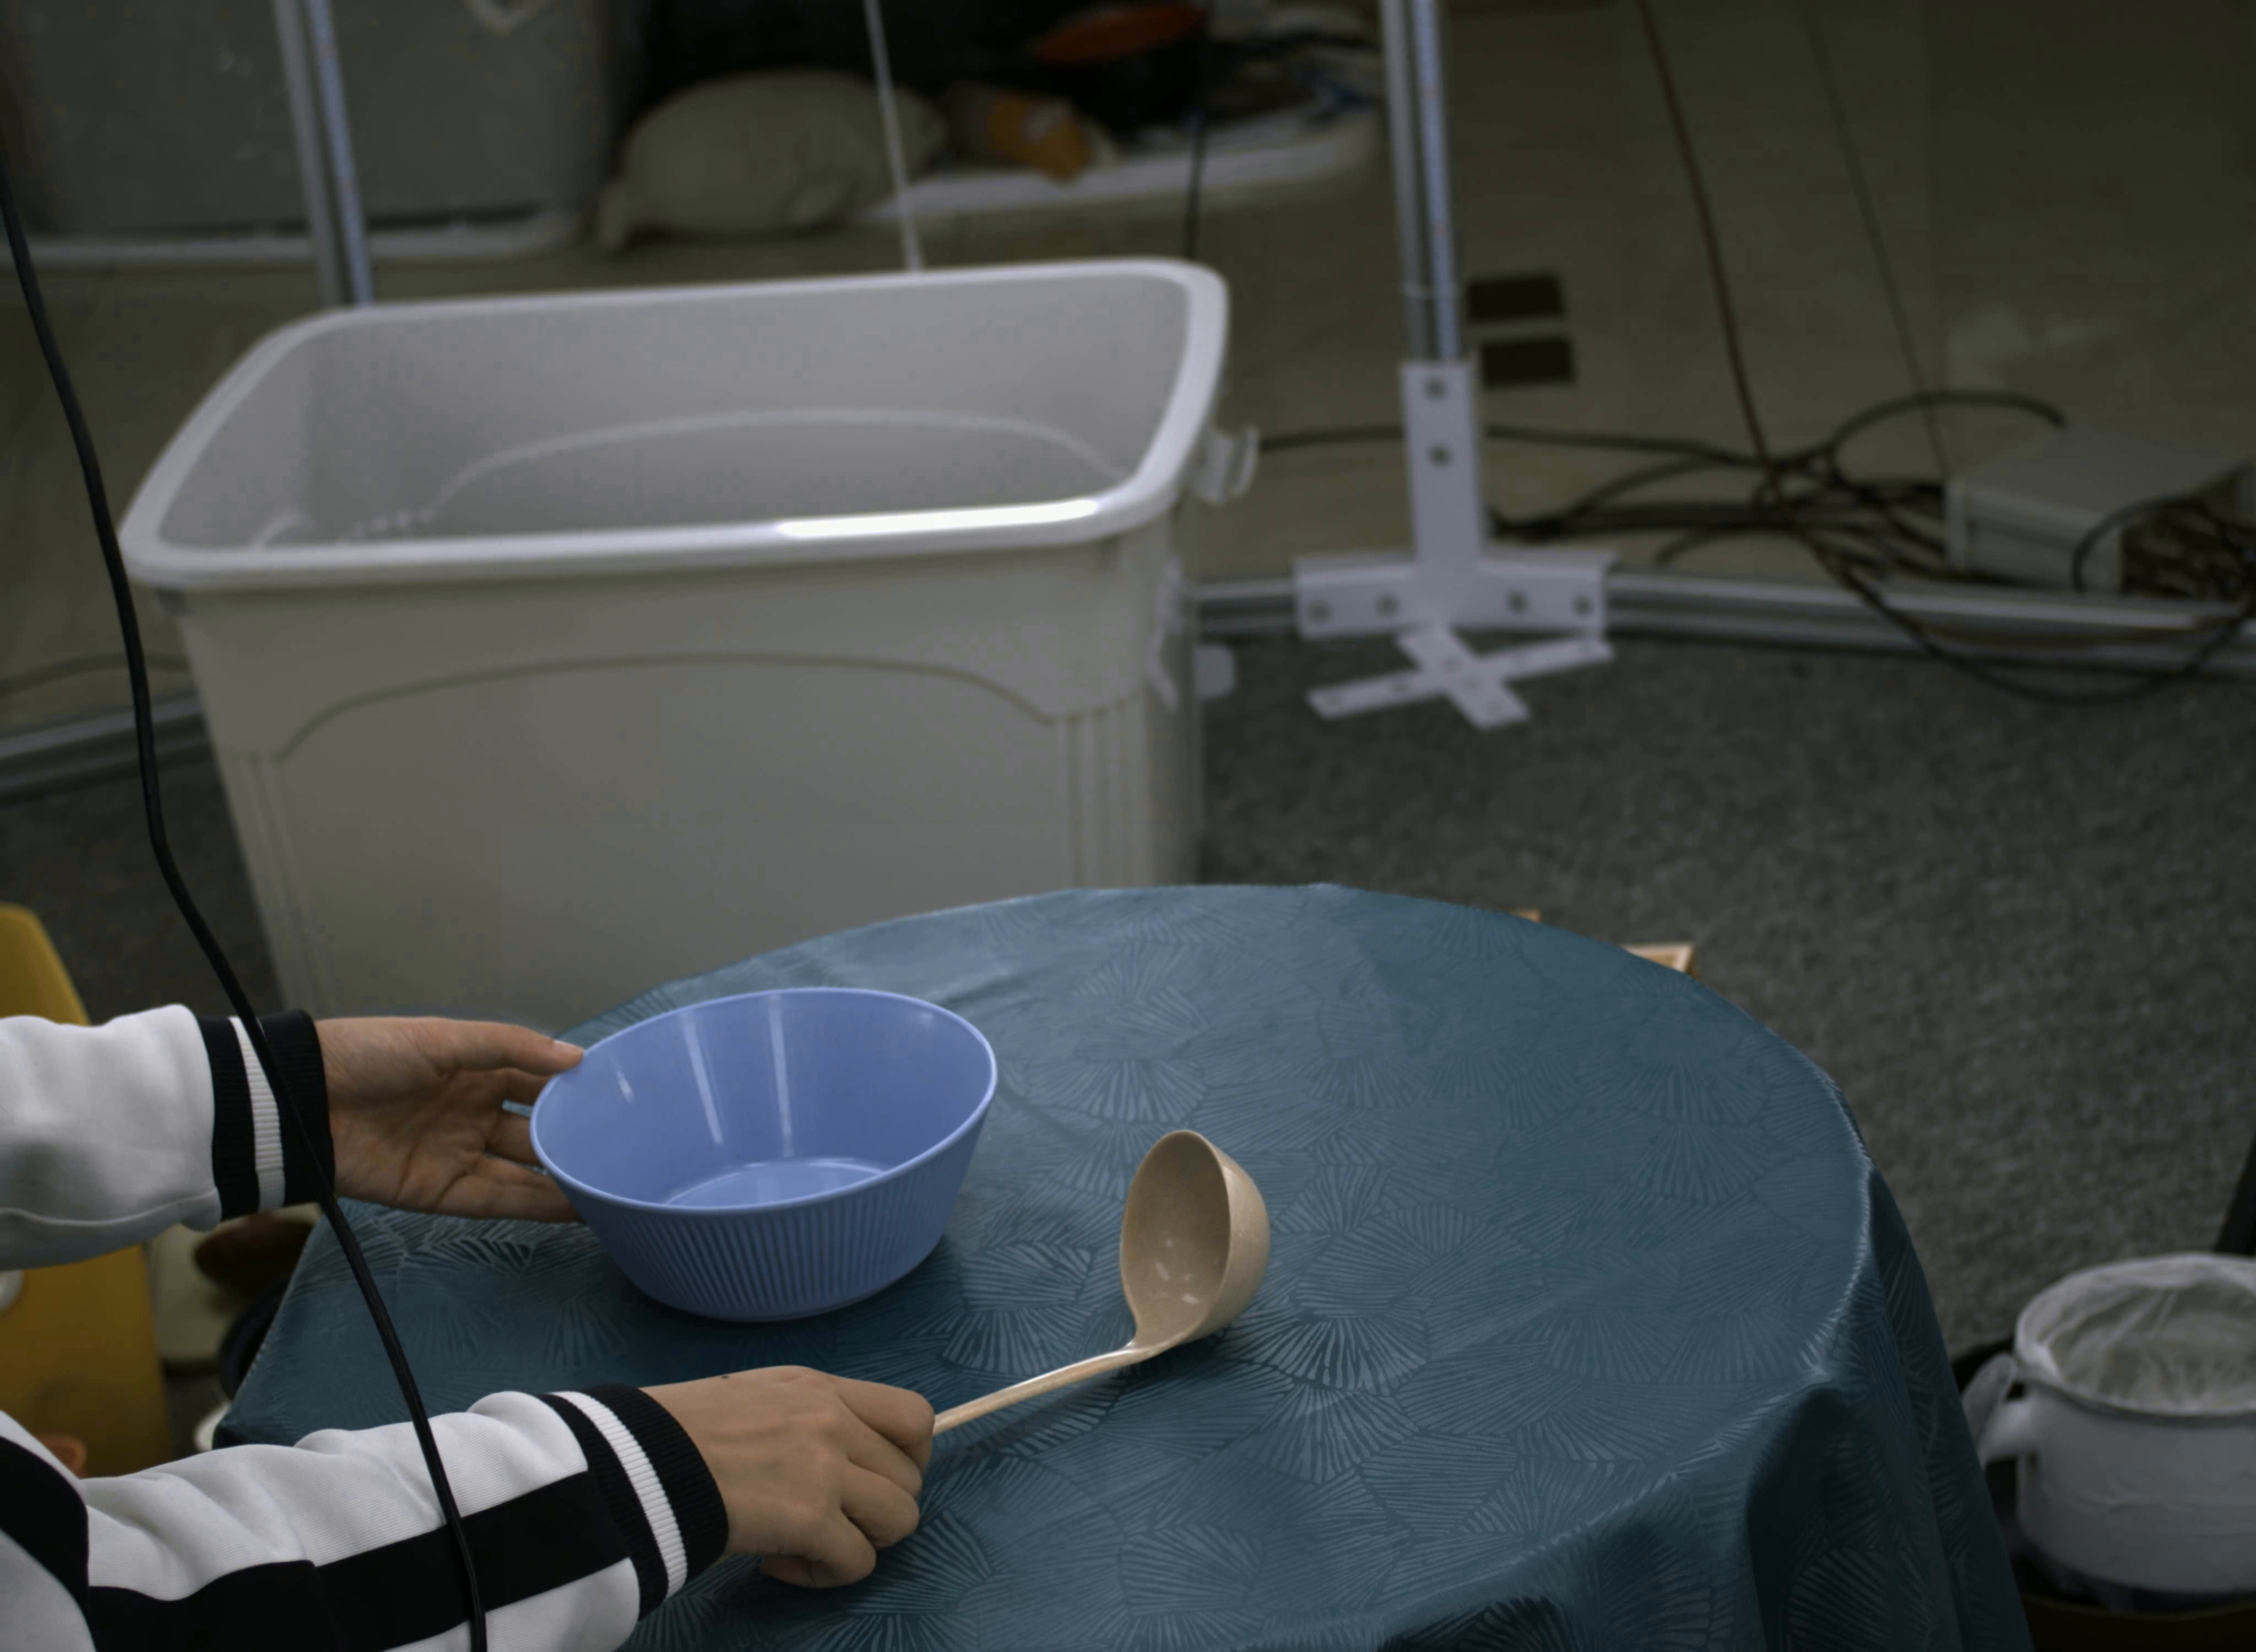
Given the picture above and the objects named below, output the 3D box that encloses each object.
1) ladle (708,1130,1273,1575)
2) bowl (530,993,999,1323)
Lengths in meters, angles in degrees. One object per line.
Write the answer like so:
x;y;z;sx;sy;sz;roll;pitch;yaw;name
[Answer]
-0.055;0.178;1.980;0.252;0.073;0.072;-22;11;-36;ladle
-0.131;0.130;2.117;0.176;0.071;0.173;-6;24;3;bowl
